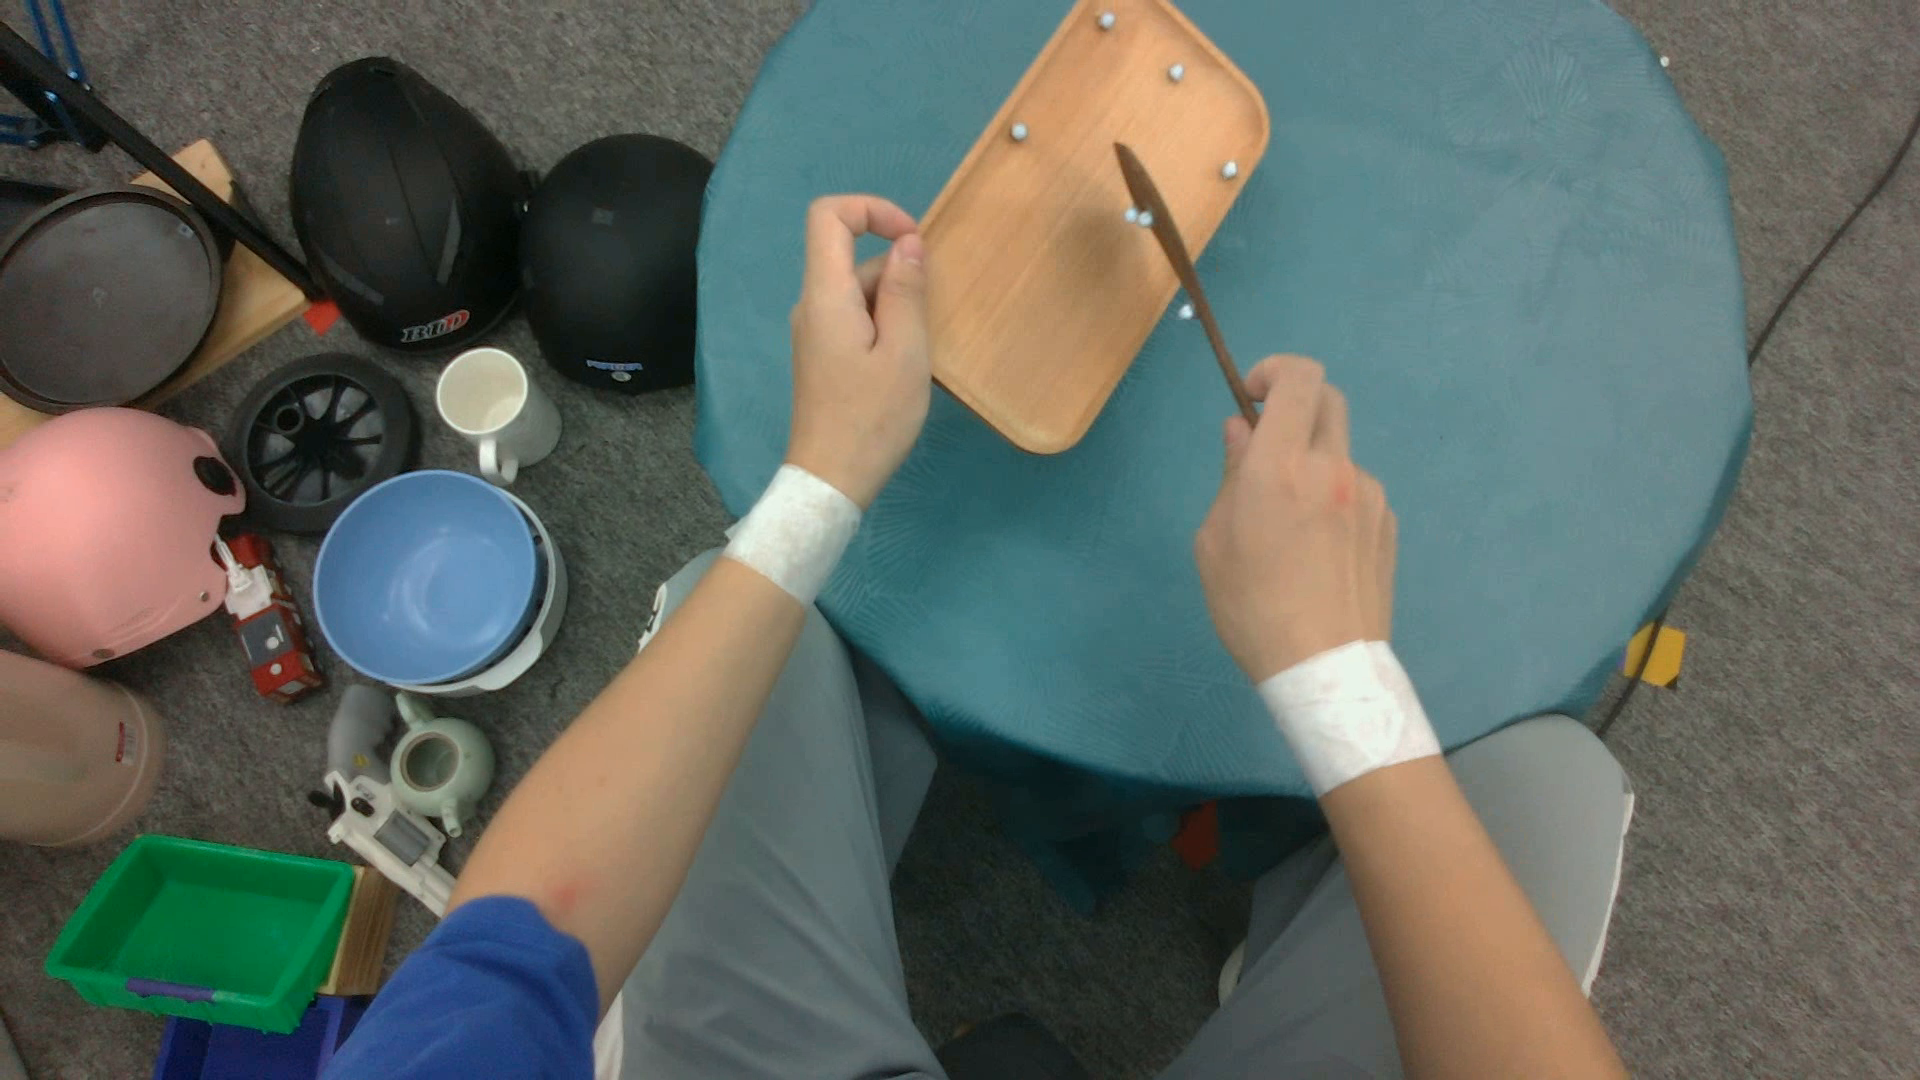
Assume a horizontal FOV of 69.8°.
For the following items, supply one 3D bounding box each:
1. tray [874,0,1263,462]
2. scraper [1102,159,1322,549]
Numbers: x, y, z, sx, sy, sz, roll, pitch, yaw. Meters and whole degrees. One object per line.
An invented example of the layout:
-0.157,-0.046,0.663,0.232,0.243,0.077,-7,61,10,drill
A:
0.062,-0.164,0.713,0.130,0.023,0.251,38,71,-12,tray
0.122,-0.090,0.657,0.011,0.076,0.211,-28,74,11,scraper
